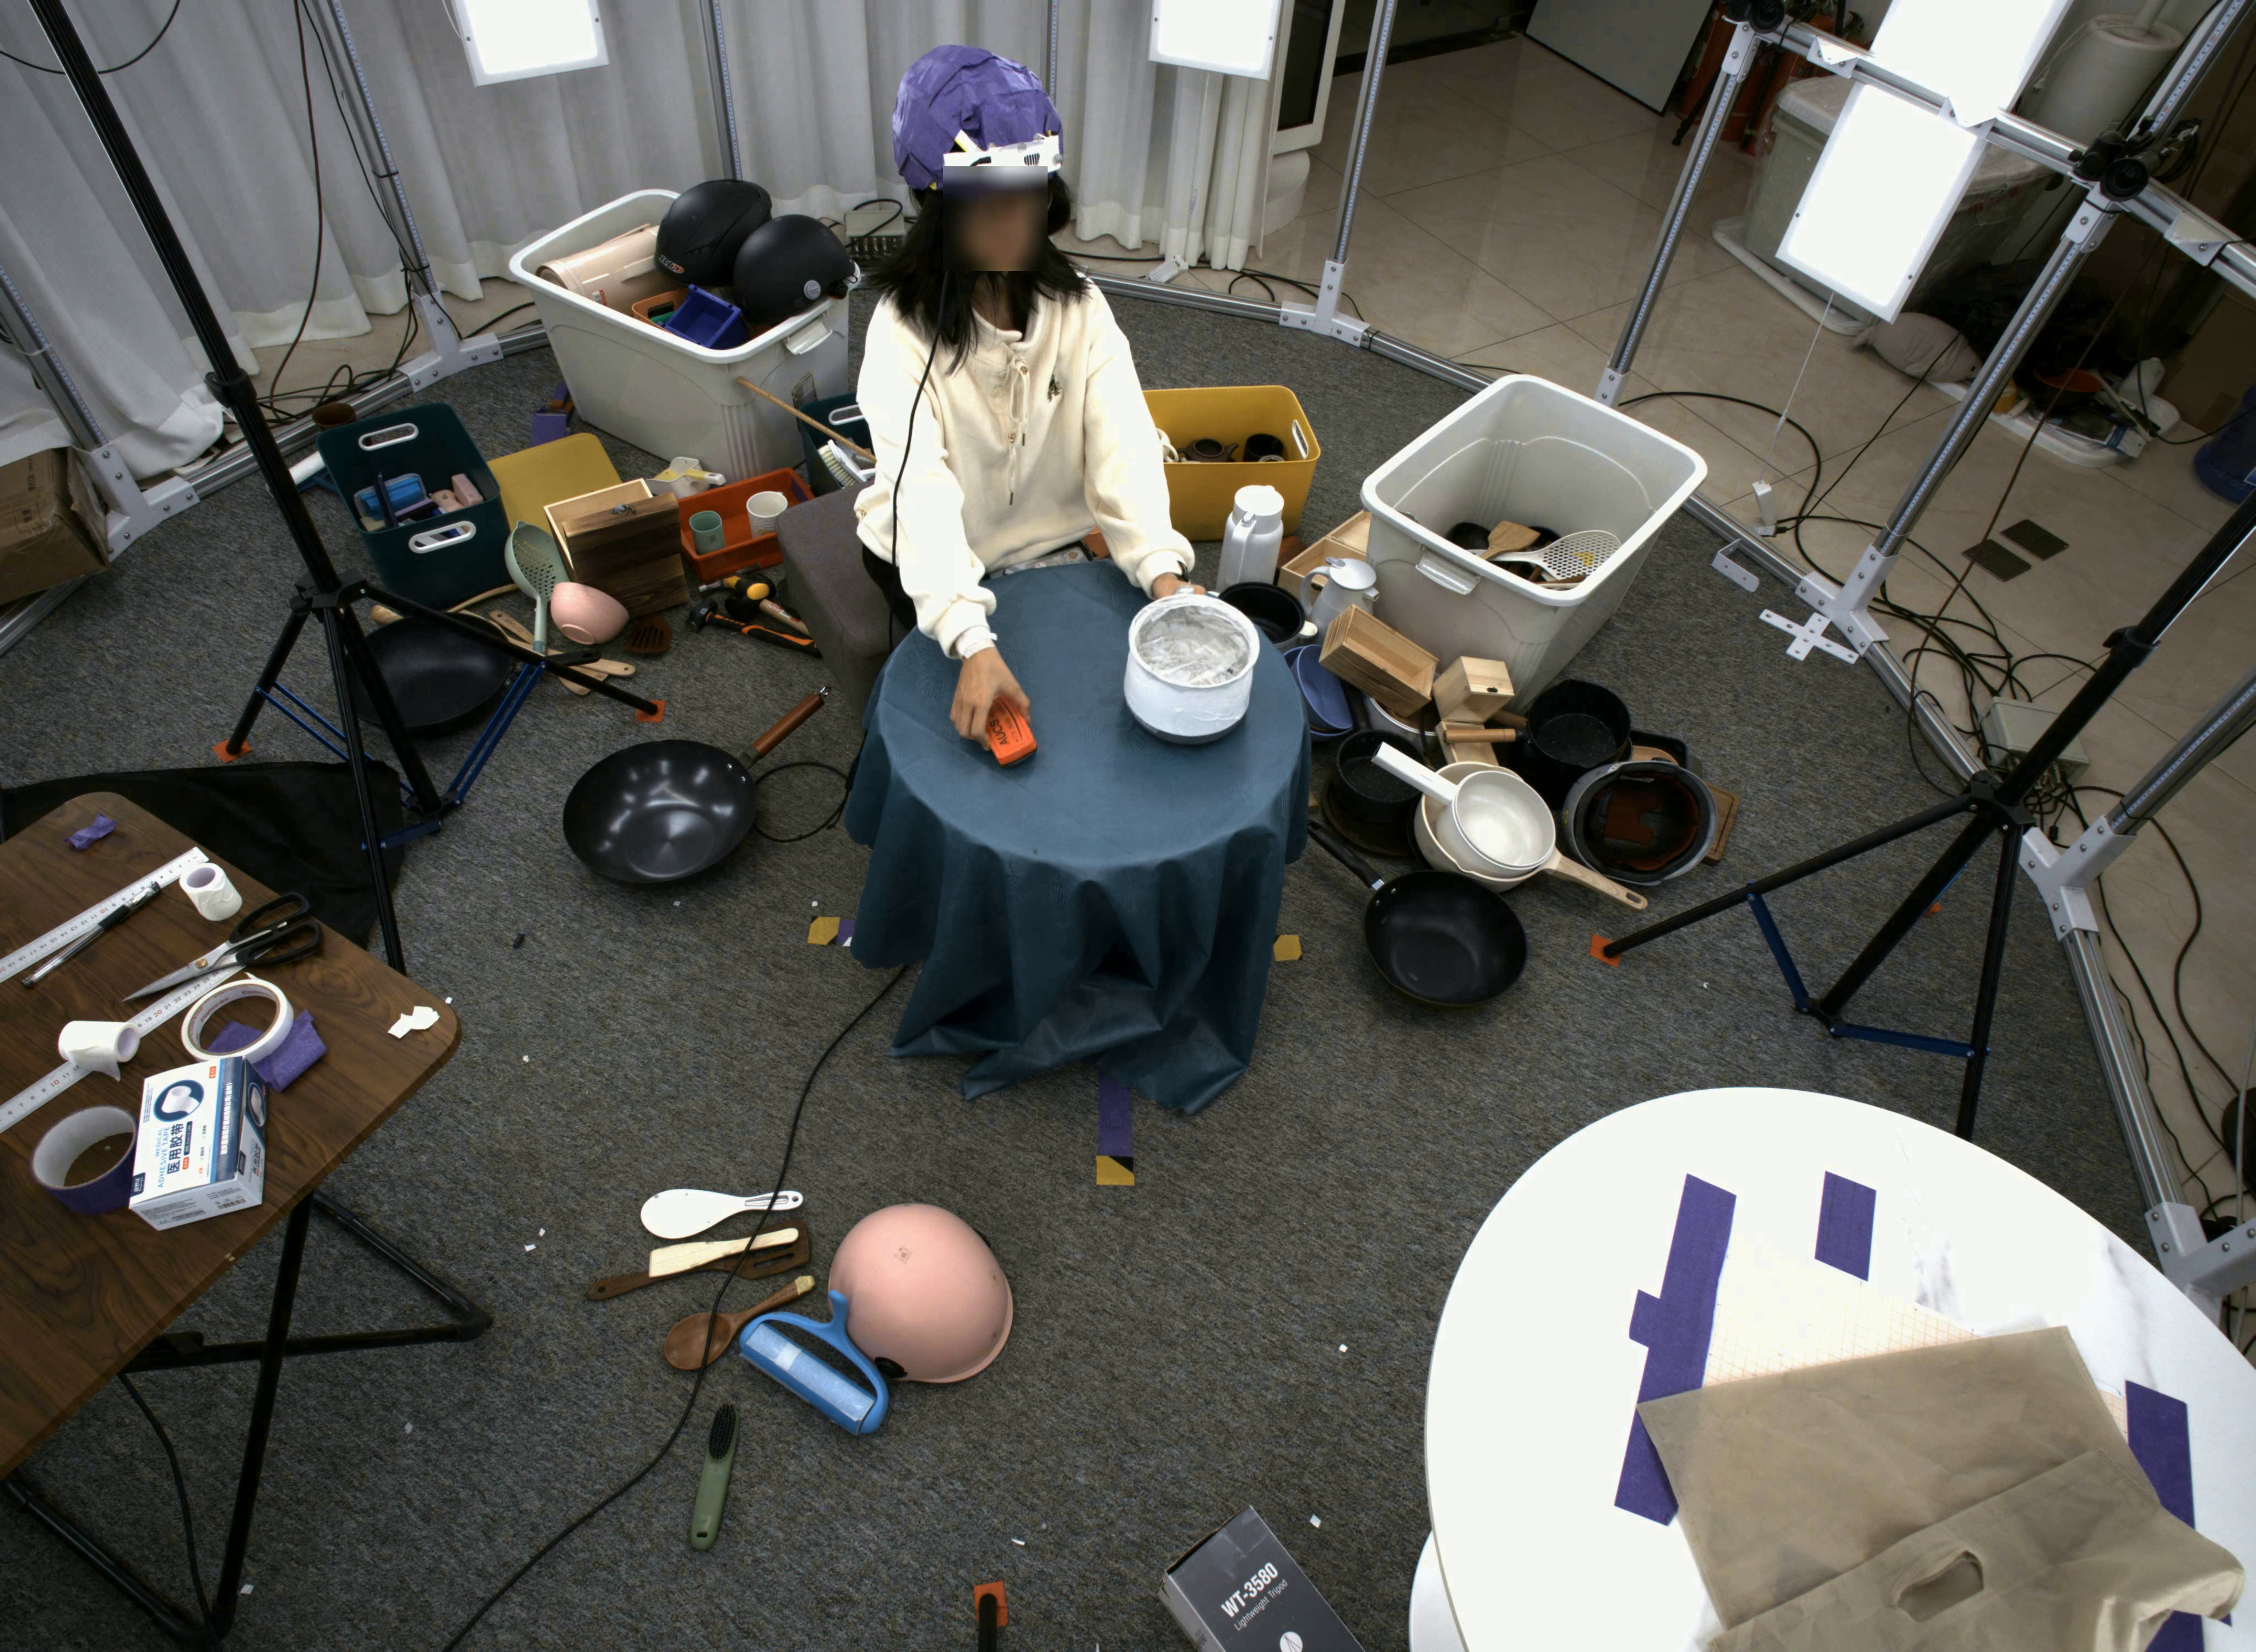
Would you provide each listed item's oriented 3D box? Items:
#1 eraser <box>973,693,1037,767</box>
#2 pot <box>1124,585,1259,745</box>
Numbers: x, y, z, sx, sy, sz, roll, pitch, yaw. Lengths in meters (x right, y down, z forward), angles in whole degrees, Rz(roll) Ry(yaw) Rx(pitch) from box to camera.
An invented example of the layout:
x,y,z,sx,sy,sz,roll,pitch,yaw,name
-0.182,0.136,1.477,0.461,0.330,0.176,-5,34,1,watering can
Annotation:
x,y,z,sx,sy,sz,roll,pitch,yaw,name
-0.167,-0.131,1.744,0.059,0.022,0.110,-26,51,-5,eraser
0.082,-0.234,1.785,0.178,0.133,0.239,-2,53,-6,pot
